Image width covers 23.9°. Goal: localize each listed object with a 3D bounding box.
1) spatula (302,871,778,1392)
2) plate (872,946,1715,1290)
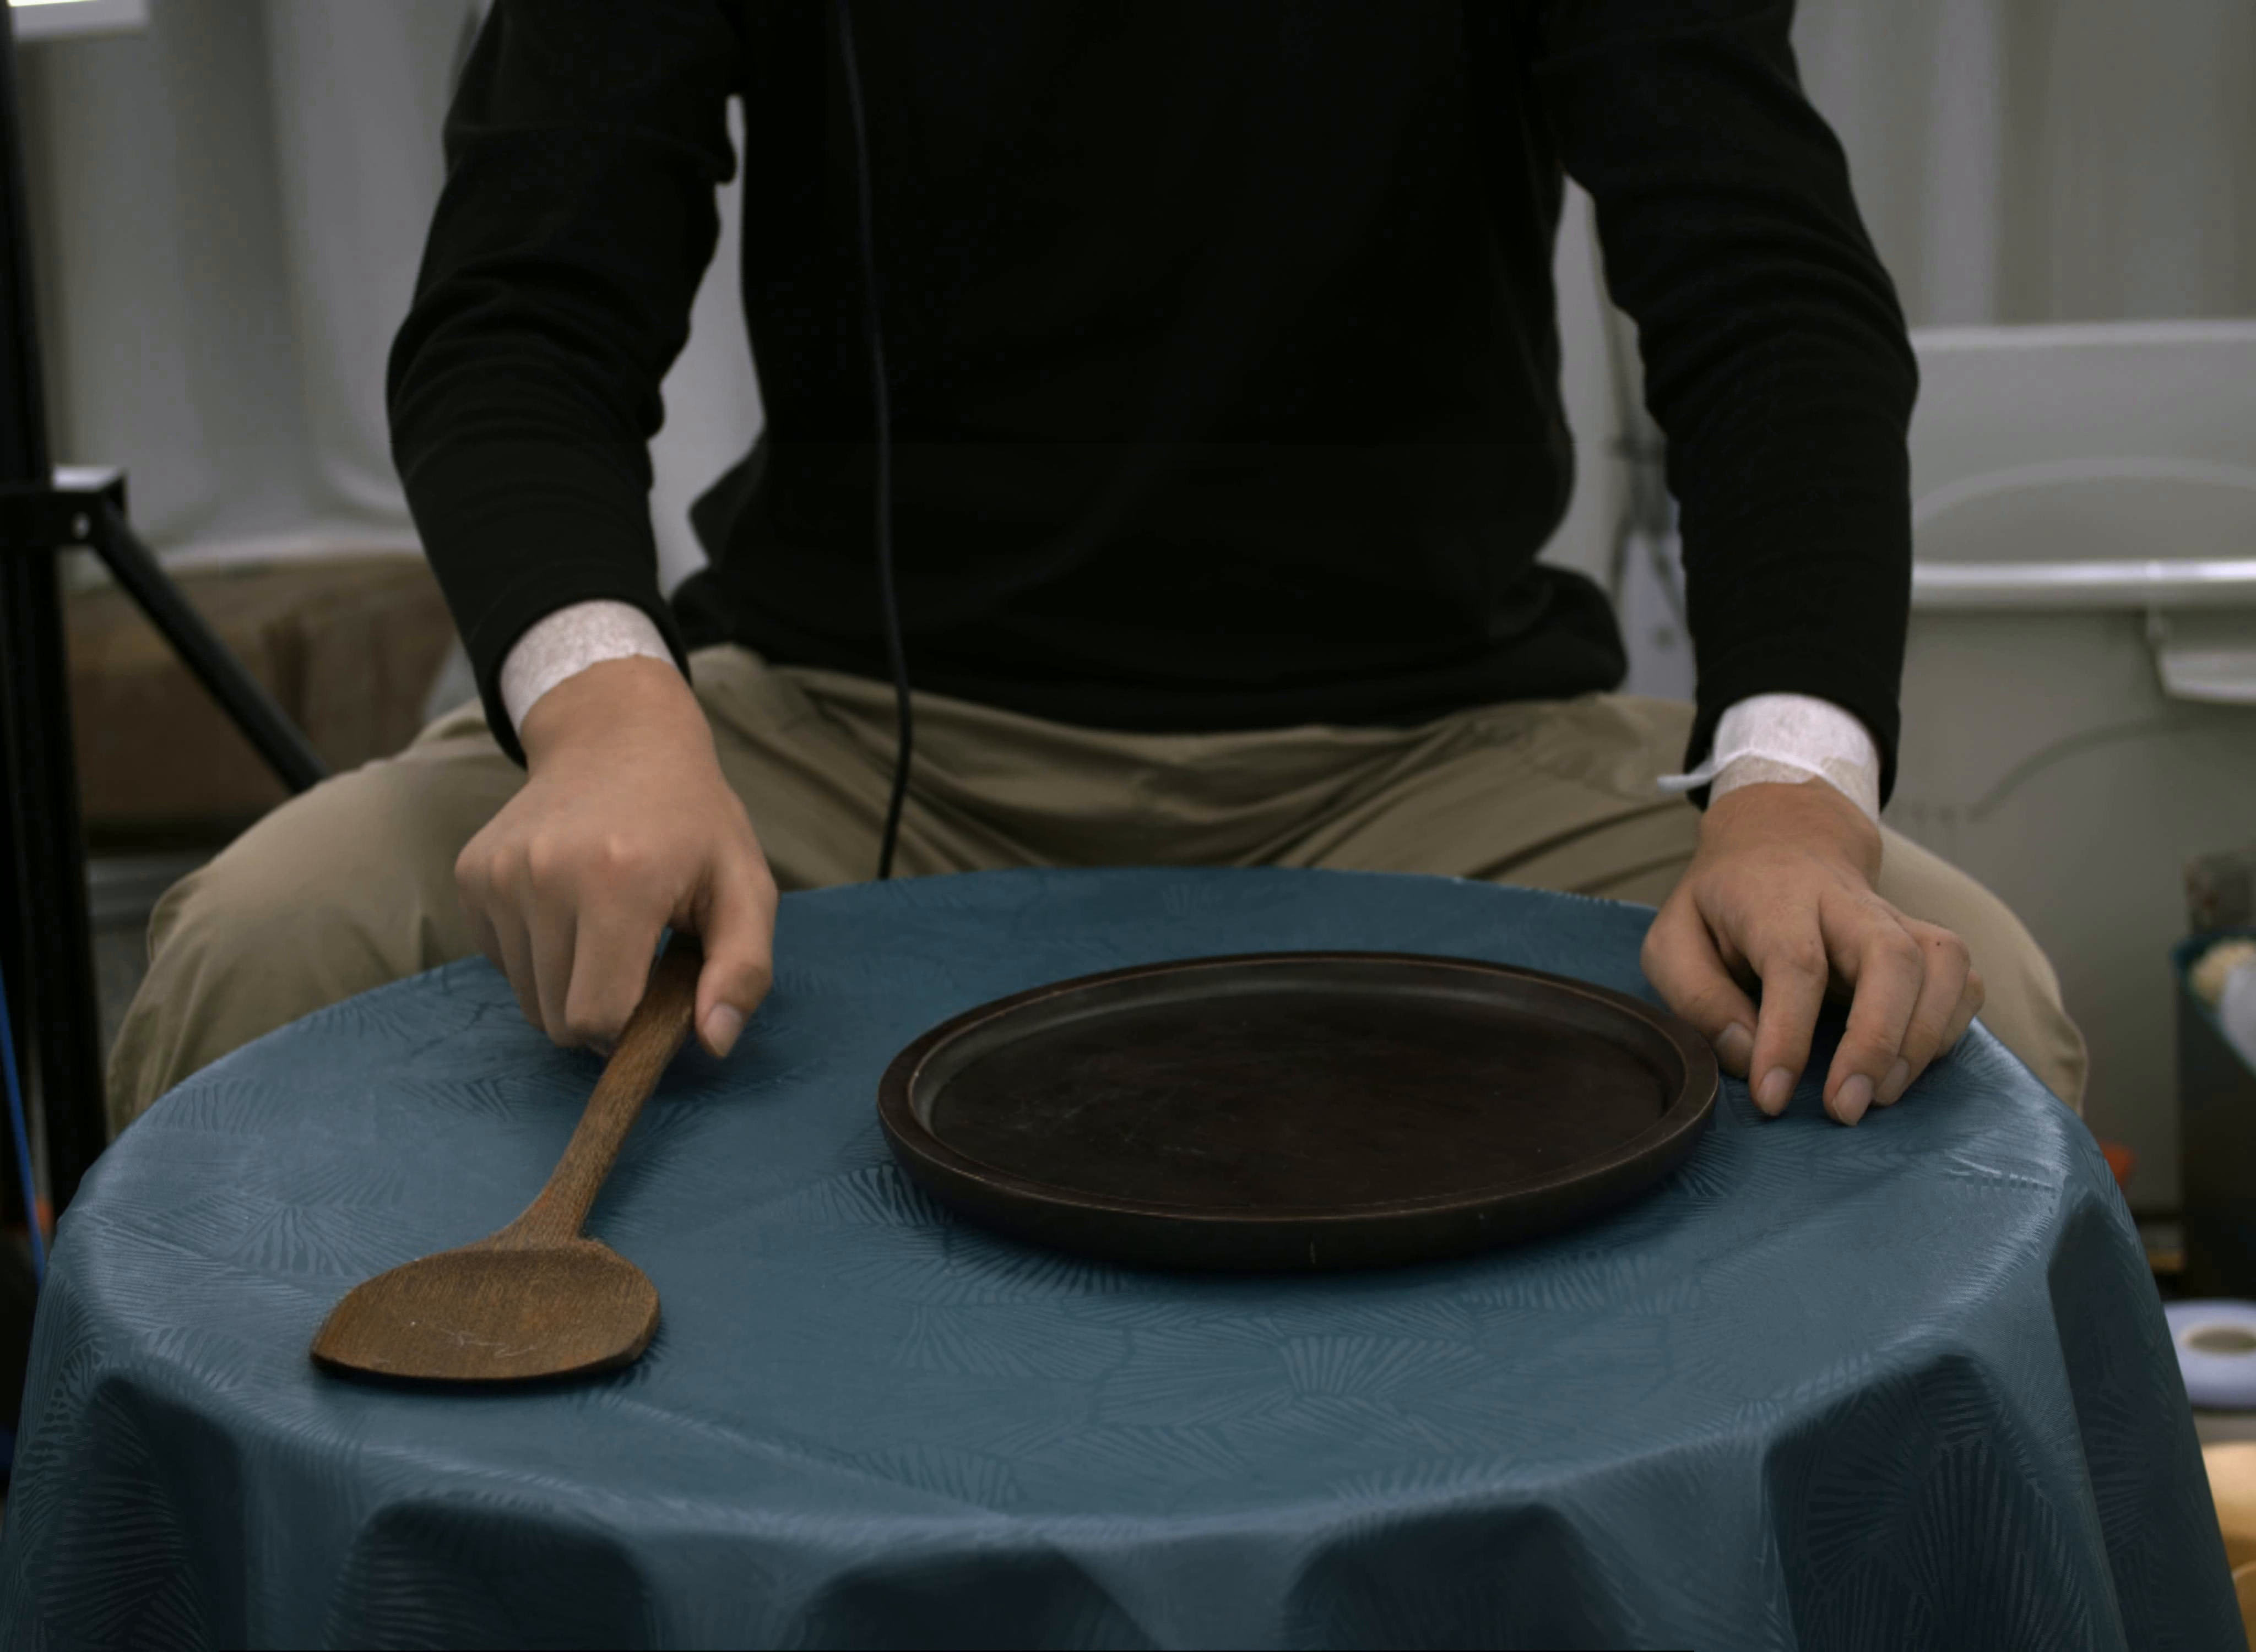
[{"bbox_3d":[-0.155,0.084,1.606,0.096,0.016,0.385,0,21,9],"label":"spatula"},{"bbox_3d":[0.050,0.085,1.591,0.253,0.029,0.256,-4,17,0],"label":"plate"}]
